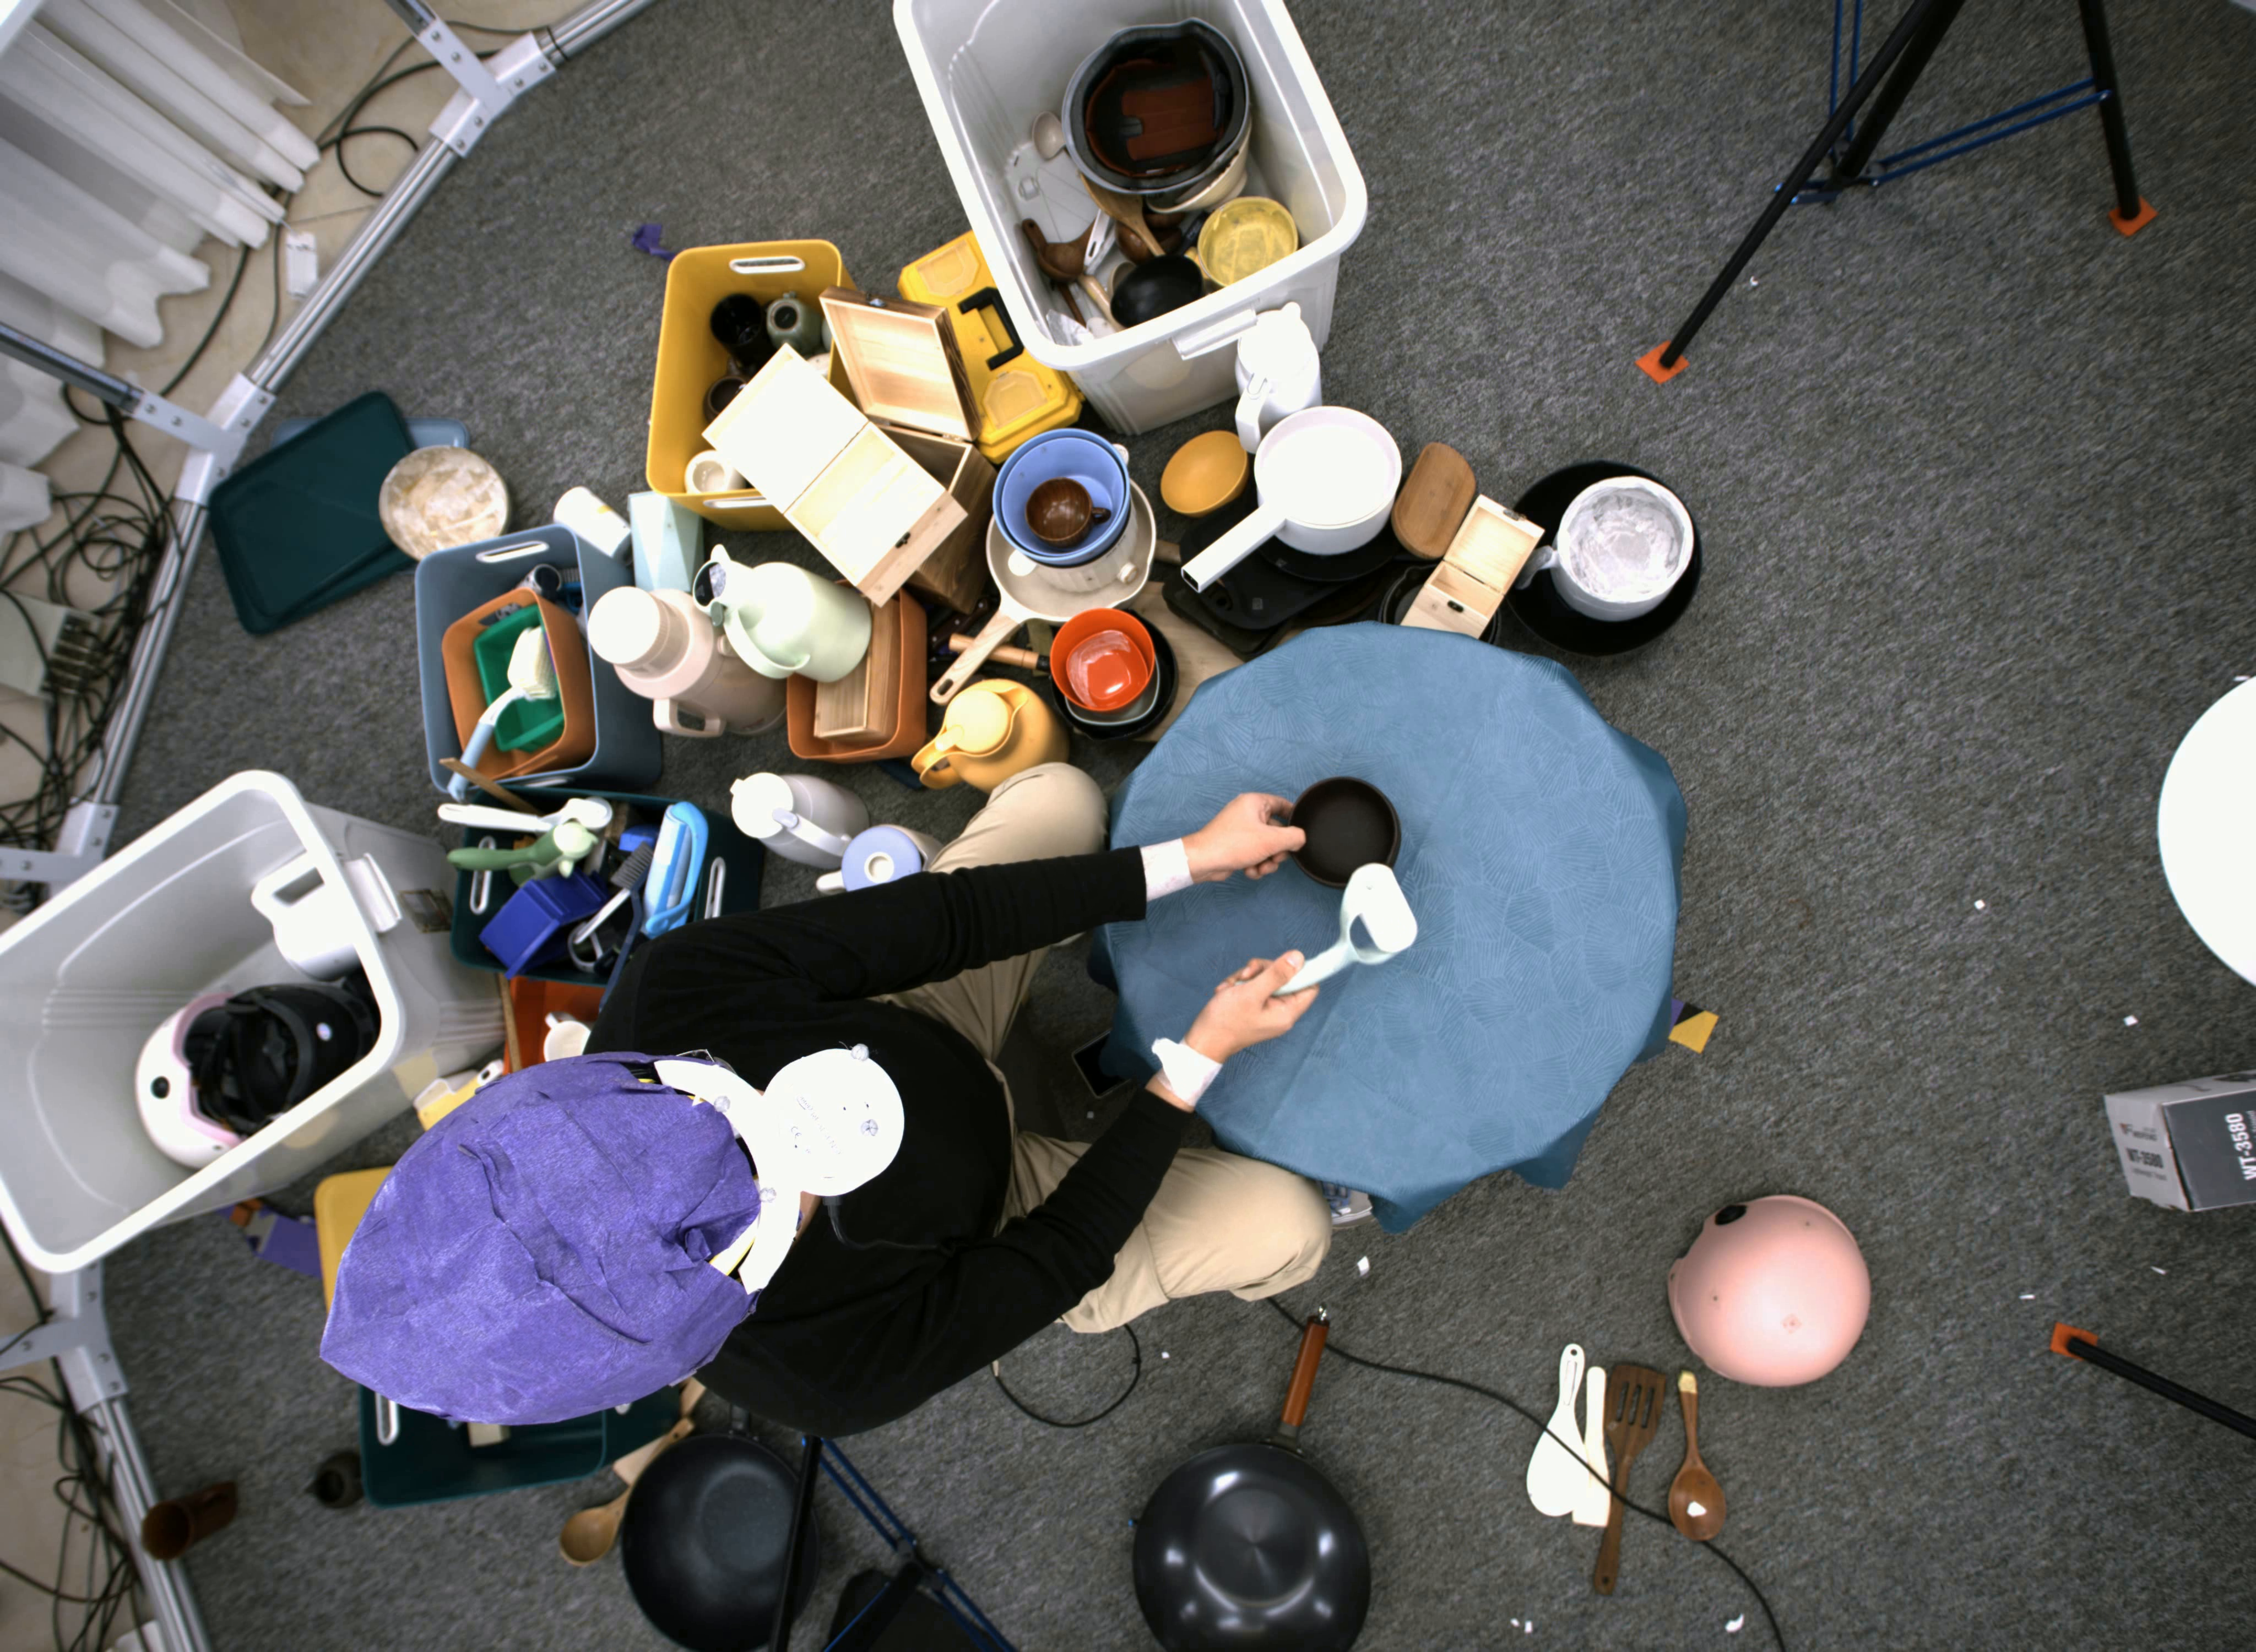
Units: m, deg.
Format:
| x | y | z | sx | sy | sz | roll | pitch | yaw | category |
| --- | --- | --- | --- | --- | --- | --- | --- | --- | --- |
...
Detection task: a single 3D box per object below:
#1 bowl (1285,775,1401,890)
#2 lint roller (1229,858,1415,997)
| x | y | z | sx | sy | sz | roll | pitch | yaw | category |
| --- | --- | --- | --- | --- | --- | --- | --- | --- | --- |
| 0.225 | 0.008 | 1.432 | 0.119 | 0.070 | 0.117 | -2 | 84 | 18 | bowl |
| 0.186 | 0.115 | 1.356 | 0.198 | 0.118 | 0.047 | -36 | 55 | 4 | lint roller |
